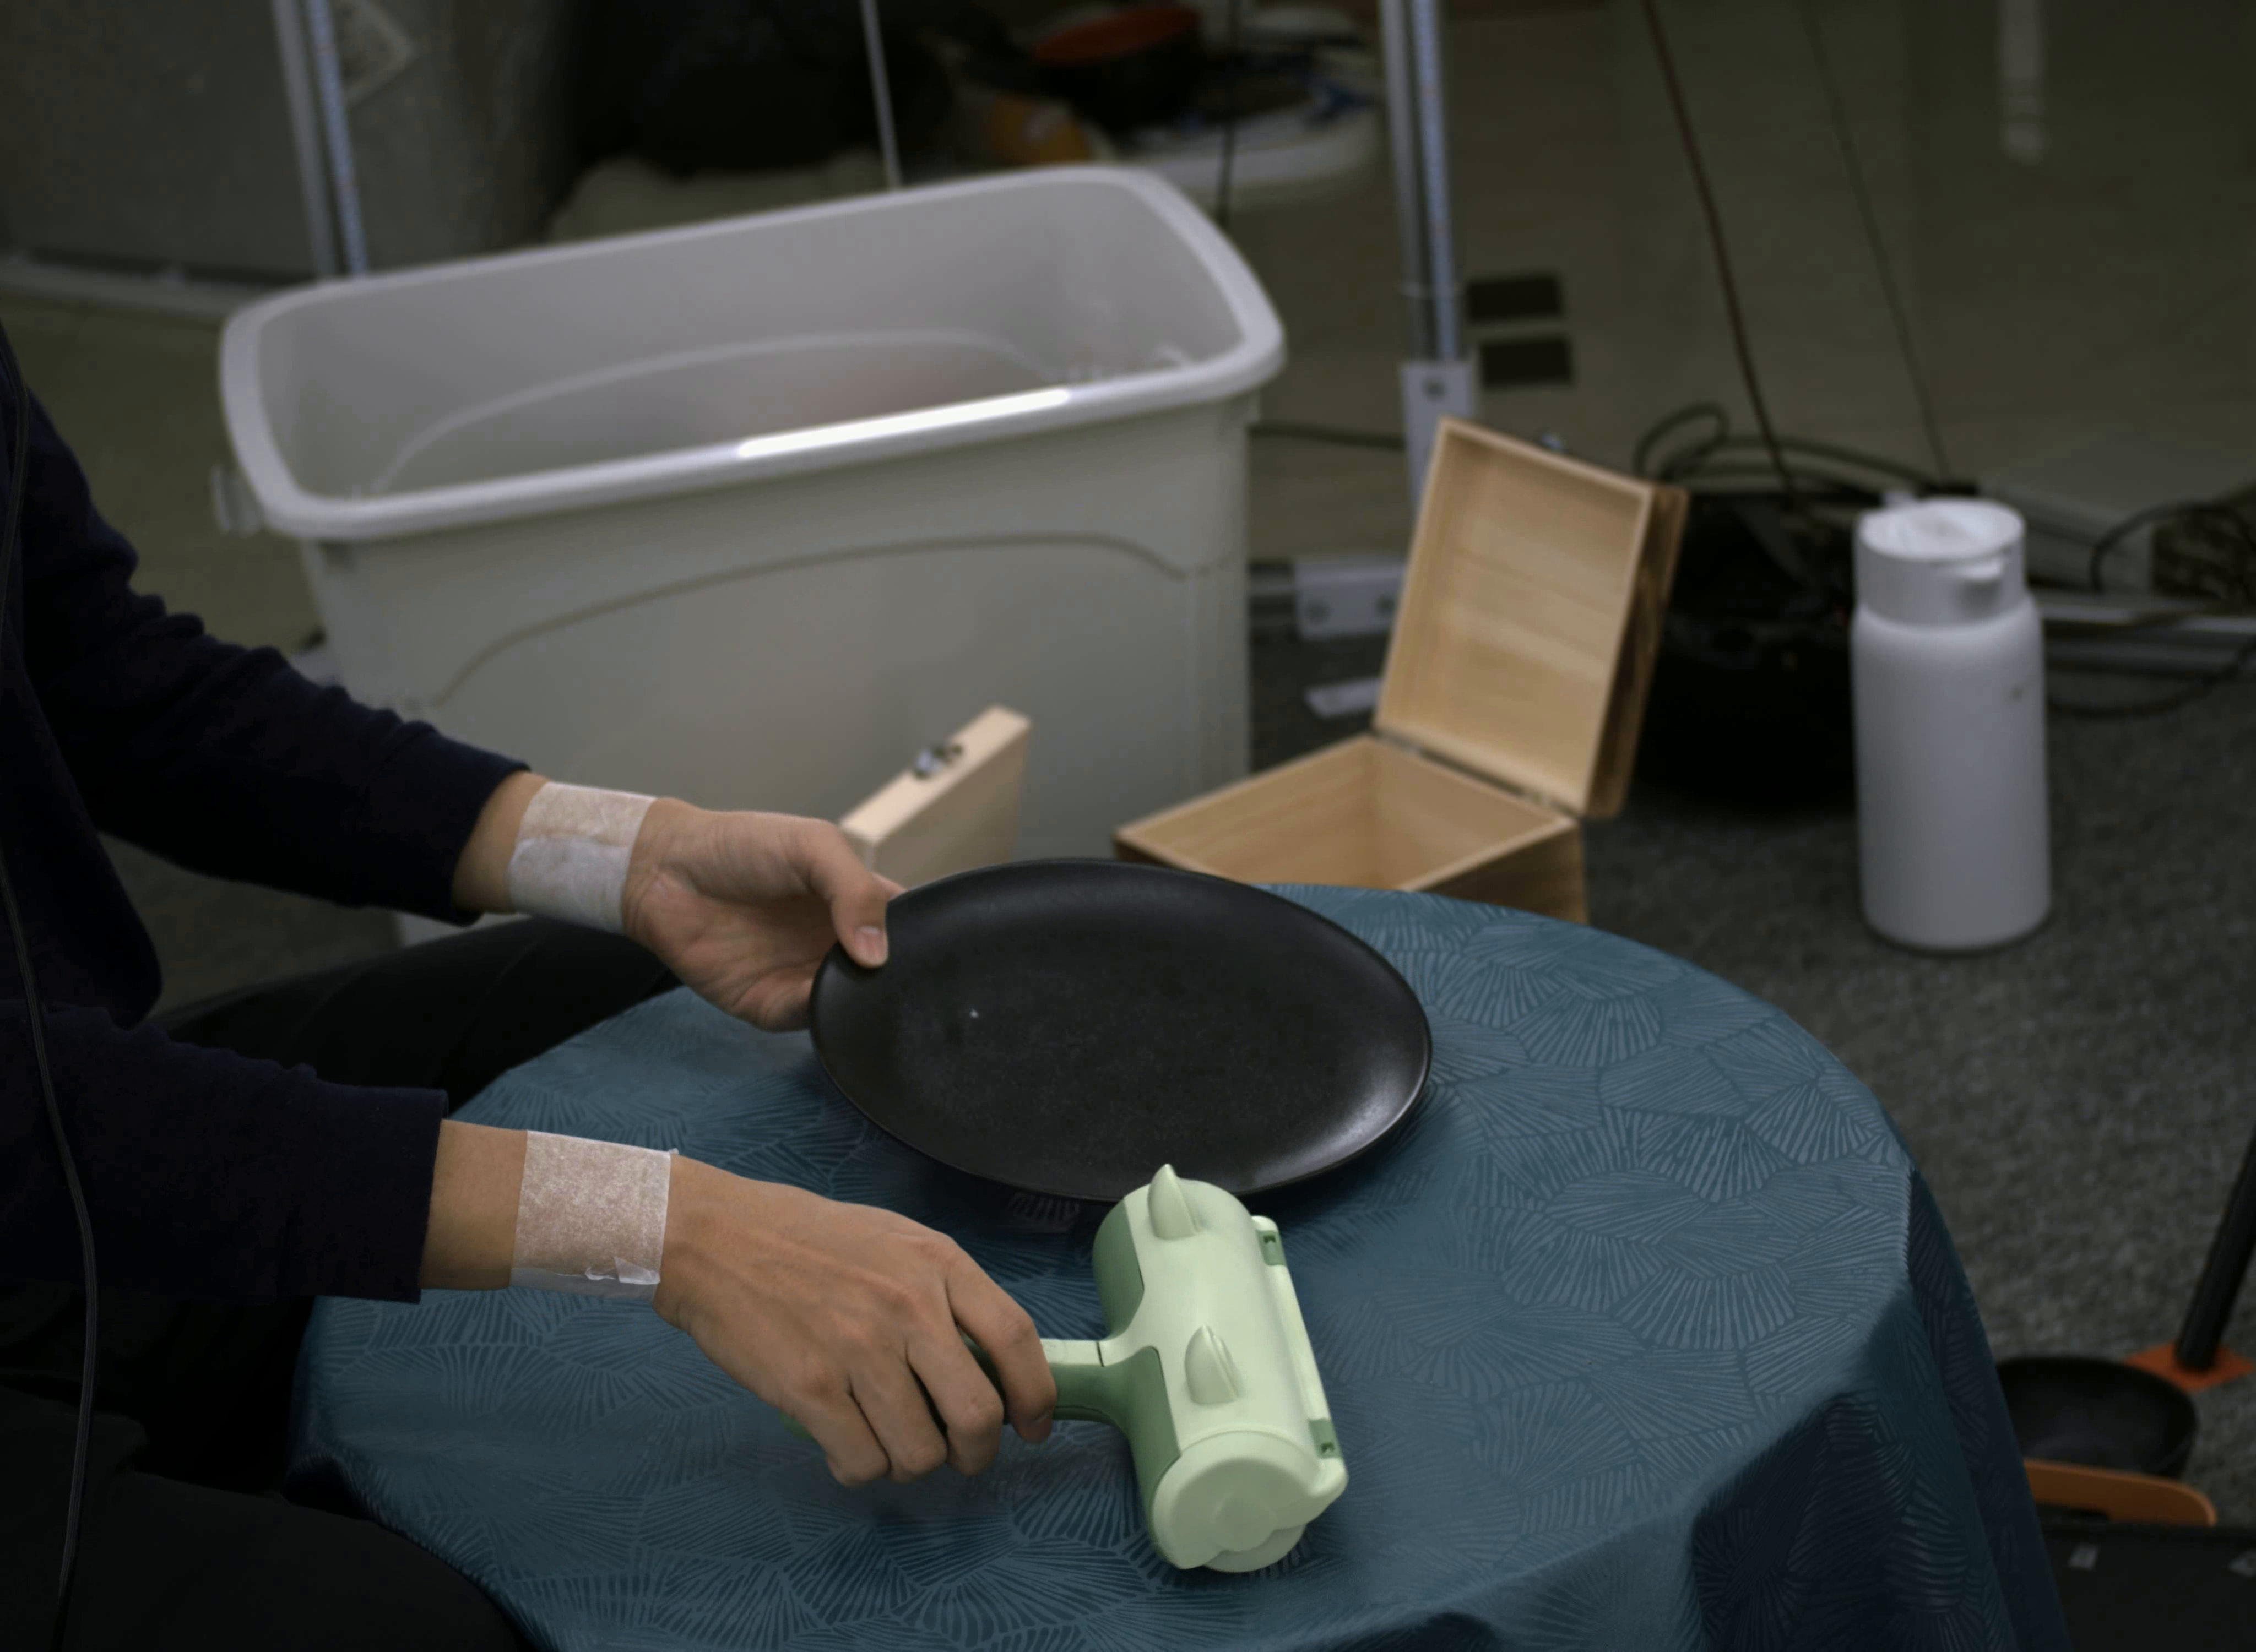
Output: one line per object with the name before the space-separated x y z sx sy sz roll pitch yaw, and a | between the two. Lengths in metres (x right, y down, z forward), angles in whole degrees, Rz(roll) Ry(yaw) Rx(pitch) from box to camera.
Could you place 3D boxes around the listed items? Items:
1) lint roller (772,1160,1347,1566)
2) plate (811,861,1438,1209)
lint roller | -0.028 0.175 1.955 0.183 0.083 0.196 5 23 -10
plate | -0.002 0.084 2.193 0.244 0.024 0.240 4 31 -2
